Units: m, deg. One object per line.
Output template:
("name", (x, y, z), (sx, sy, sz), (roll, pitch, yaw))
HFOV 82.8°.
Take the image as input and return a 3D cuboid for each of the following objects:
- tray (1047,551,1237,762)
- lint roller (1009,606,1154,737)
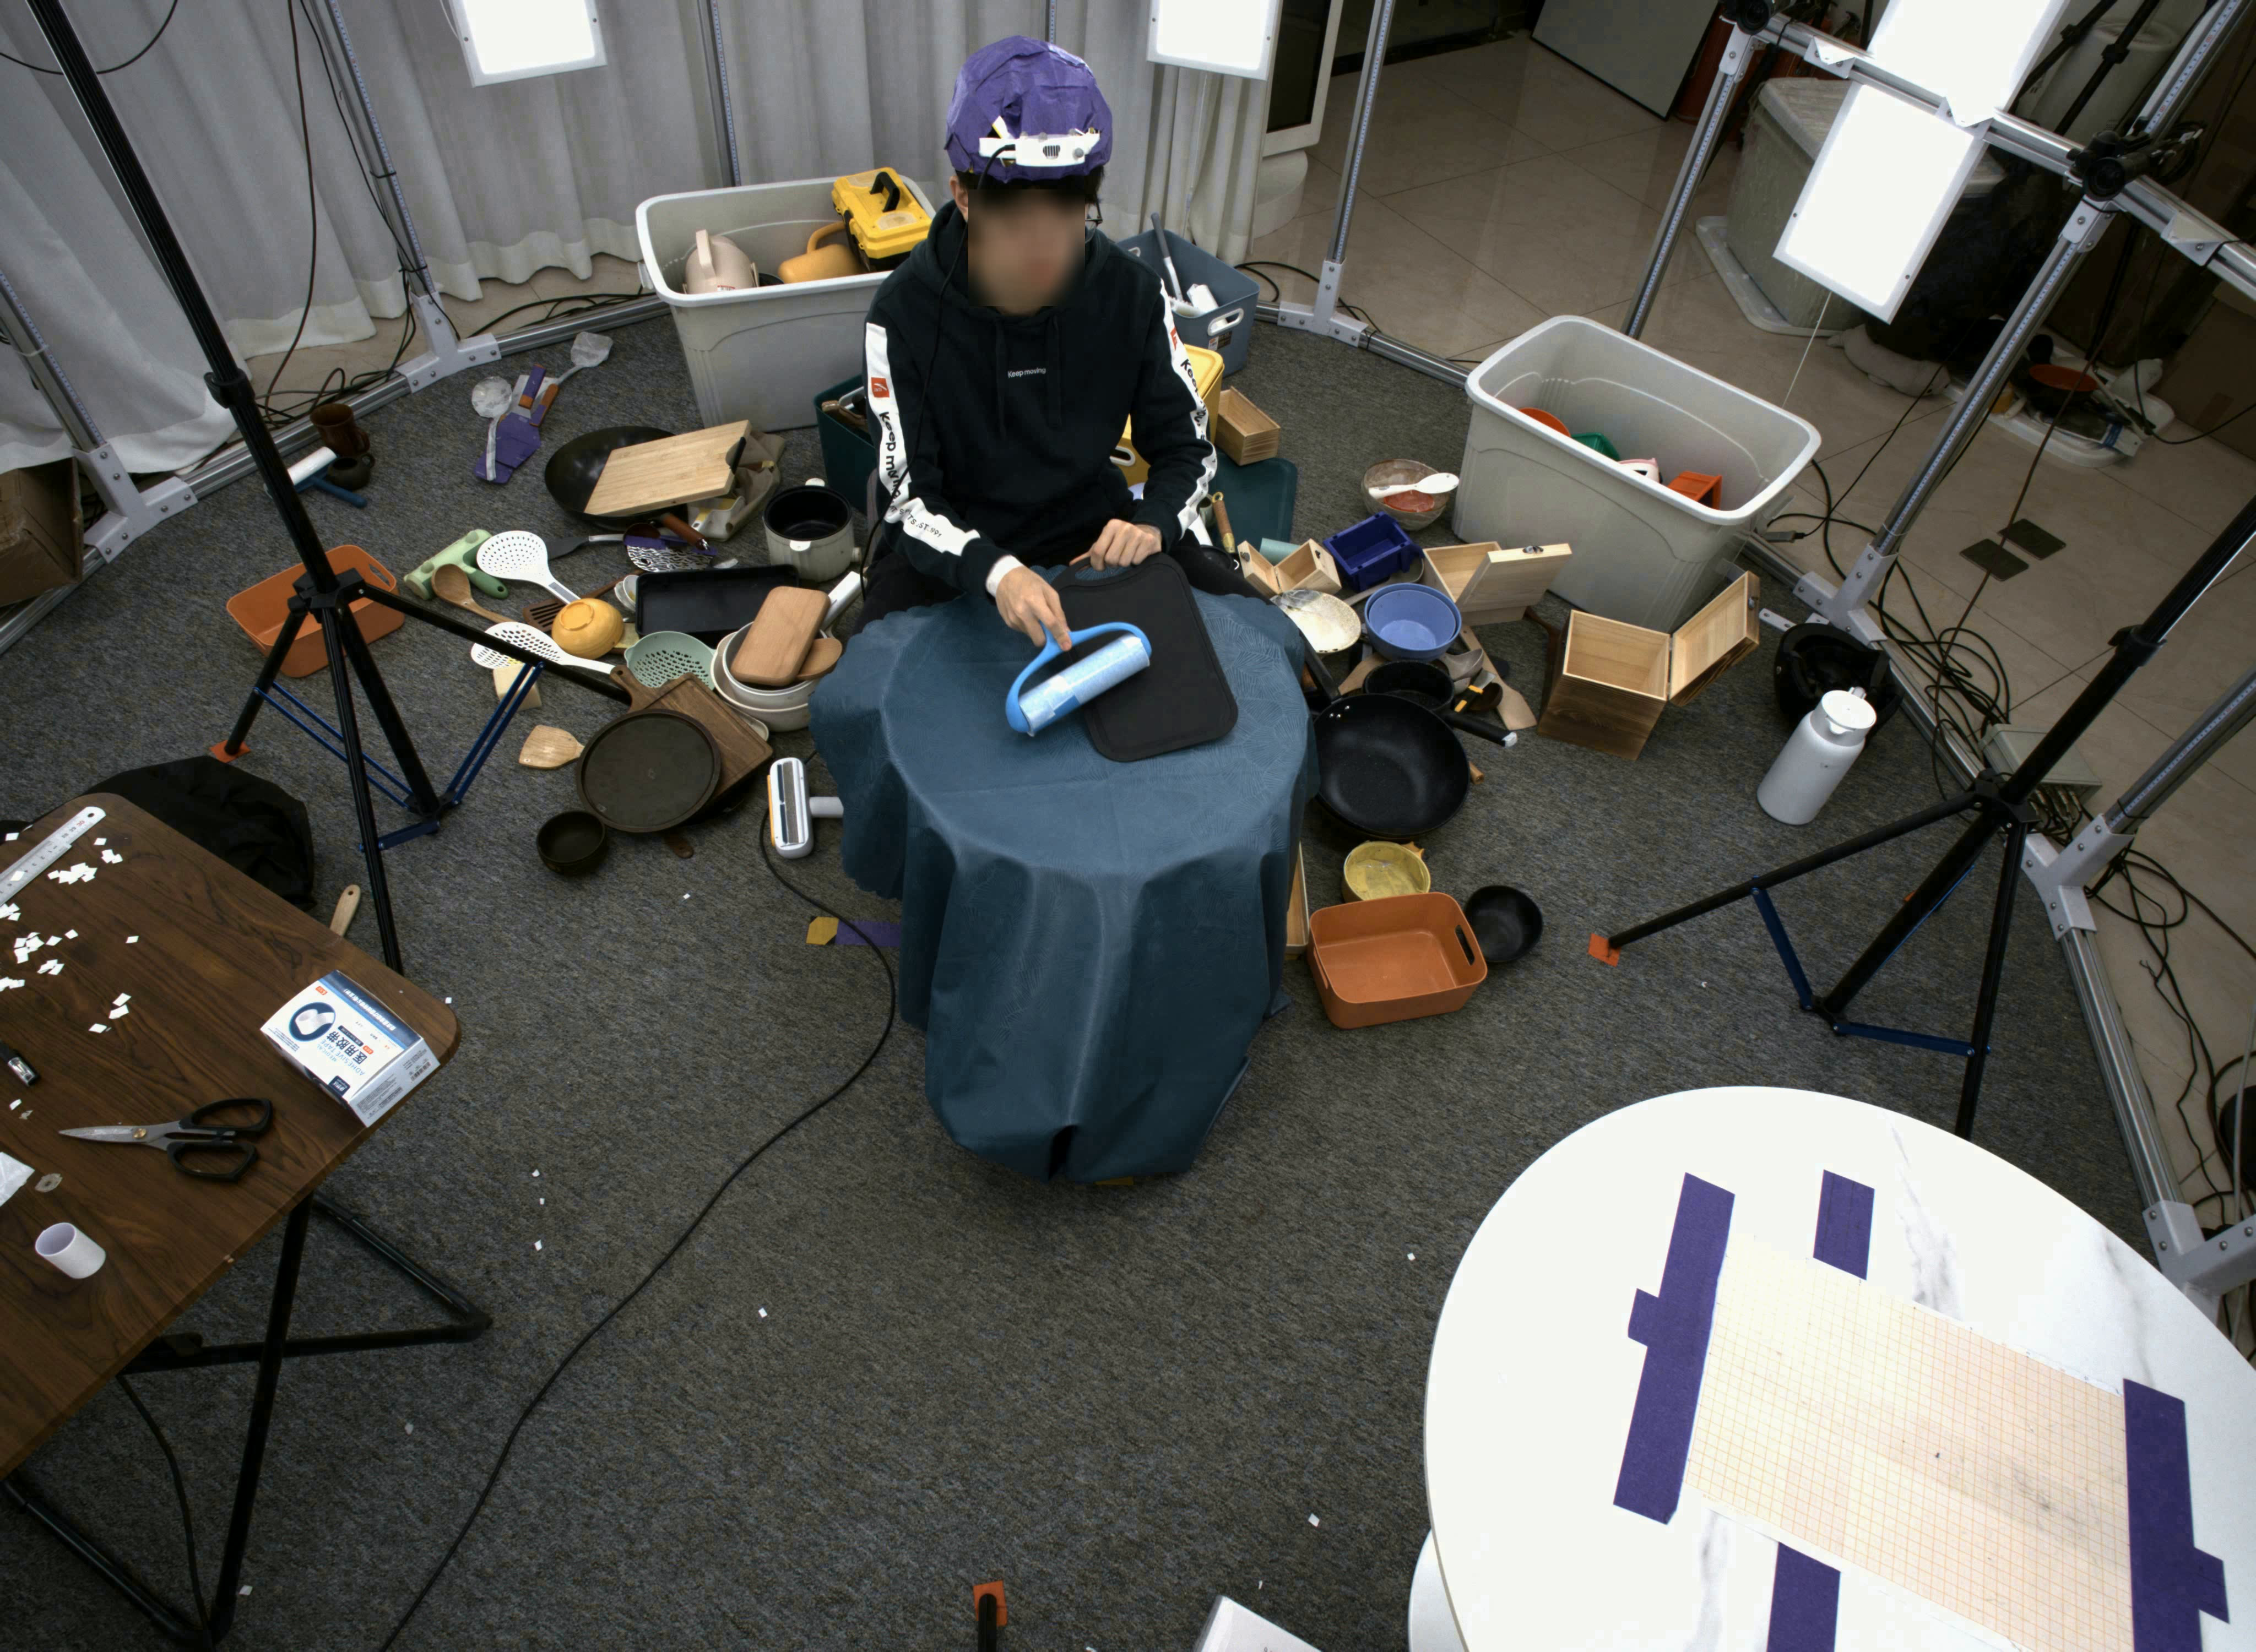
("tray", (0.014, -0.250, 1.814), (0.211, 0.009, 0.331), (-15, 69, -10))
("lint roller", (-0.097, -0.241, 1.773), (0.230, 0.067, 0.182), (-35, 79, -14))
